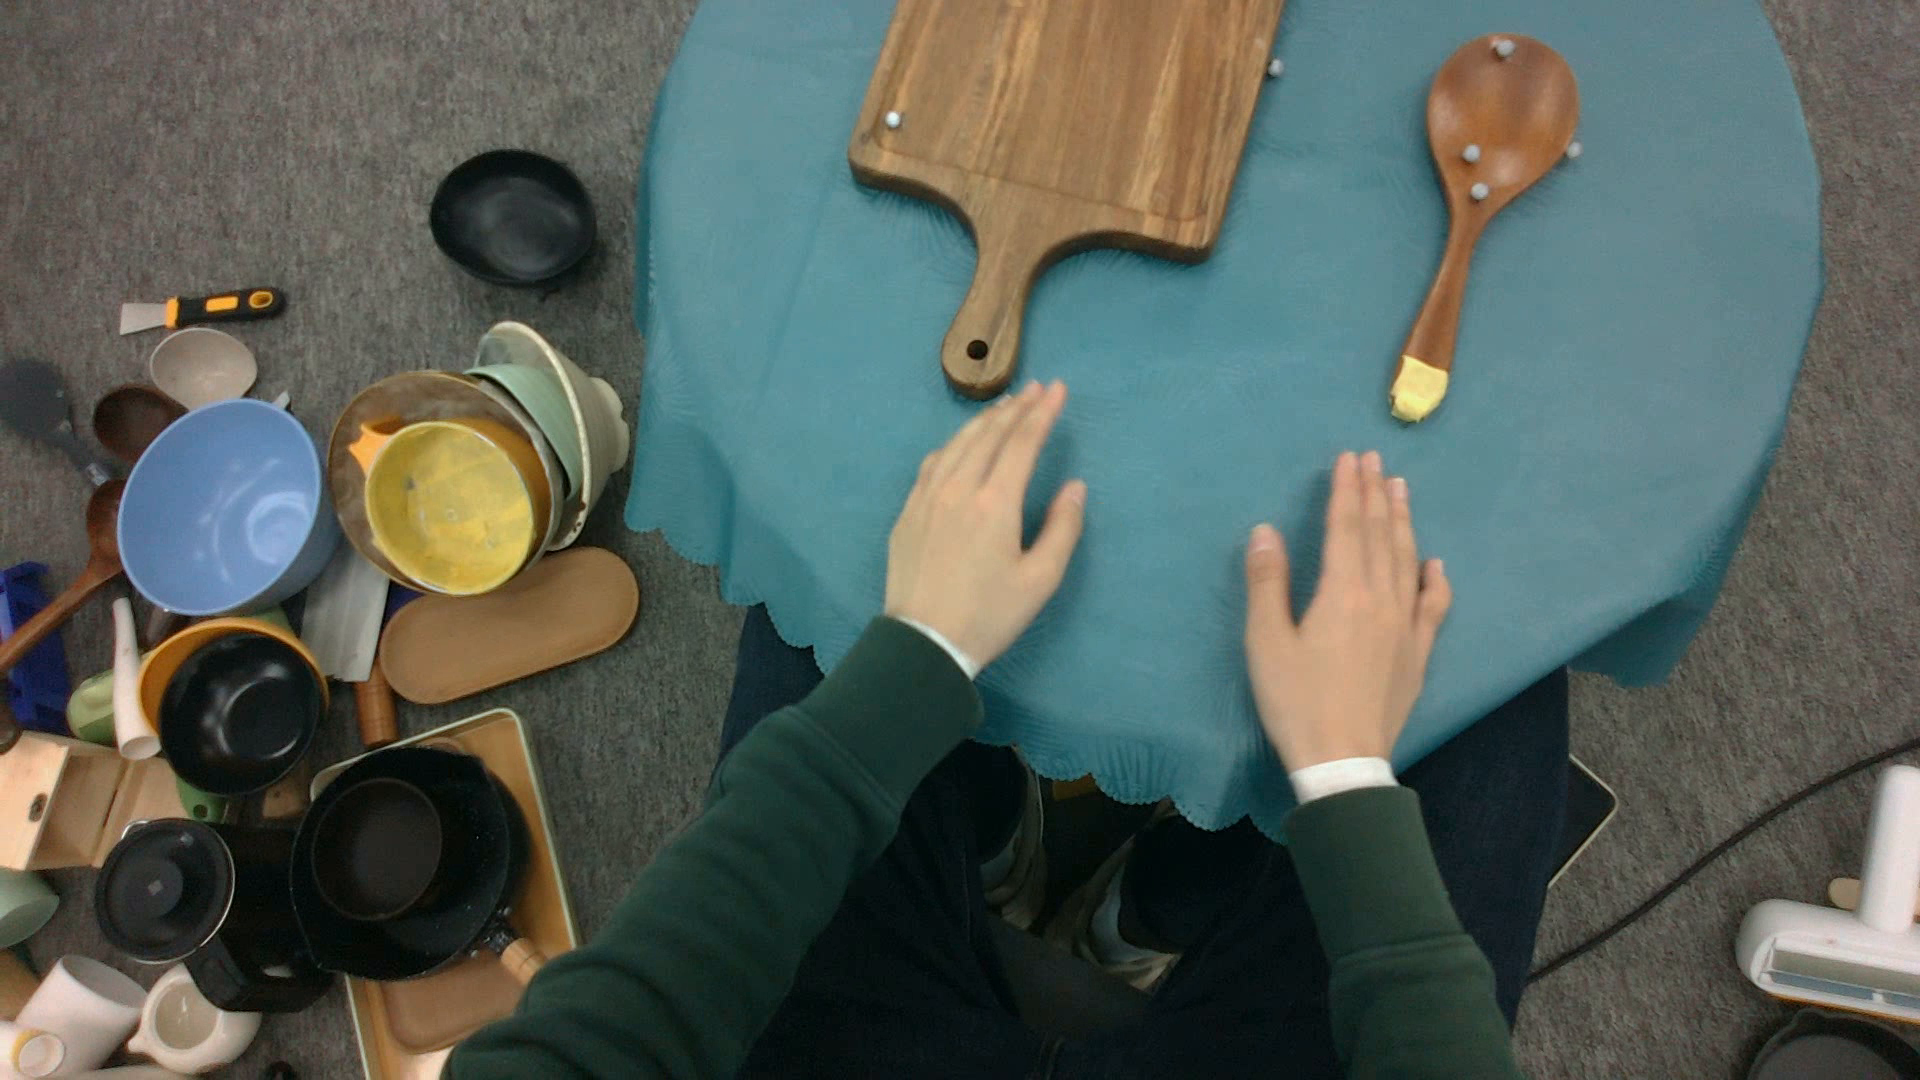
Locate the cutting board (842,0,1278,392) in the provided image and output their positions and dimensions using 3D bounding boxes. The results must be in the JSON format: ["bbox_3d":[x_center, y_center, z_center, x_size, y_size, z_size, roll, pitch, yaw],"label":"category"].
[{"bbox_3d":[0.051,-0.241,0.724,0.201,0.023,0.353,16,76,6],"label":"cutting board"}]

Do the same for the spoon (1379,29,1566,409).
[{"bbox_3d":[0.249,-0.163,0.690,0.075,0.017,0.216,19,76,6],"label":"spoon"}]
